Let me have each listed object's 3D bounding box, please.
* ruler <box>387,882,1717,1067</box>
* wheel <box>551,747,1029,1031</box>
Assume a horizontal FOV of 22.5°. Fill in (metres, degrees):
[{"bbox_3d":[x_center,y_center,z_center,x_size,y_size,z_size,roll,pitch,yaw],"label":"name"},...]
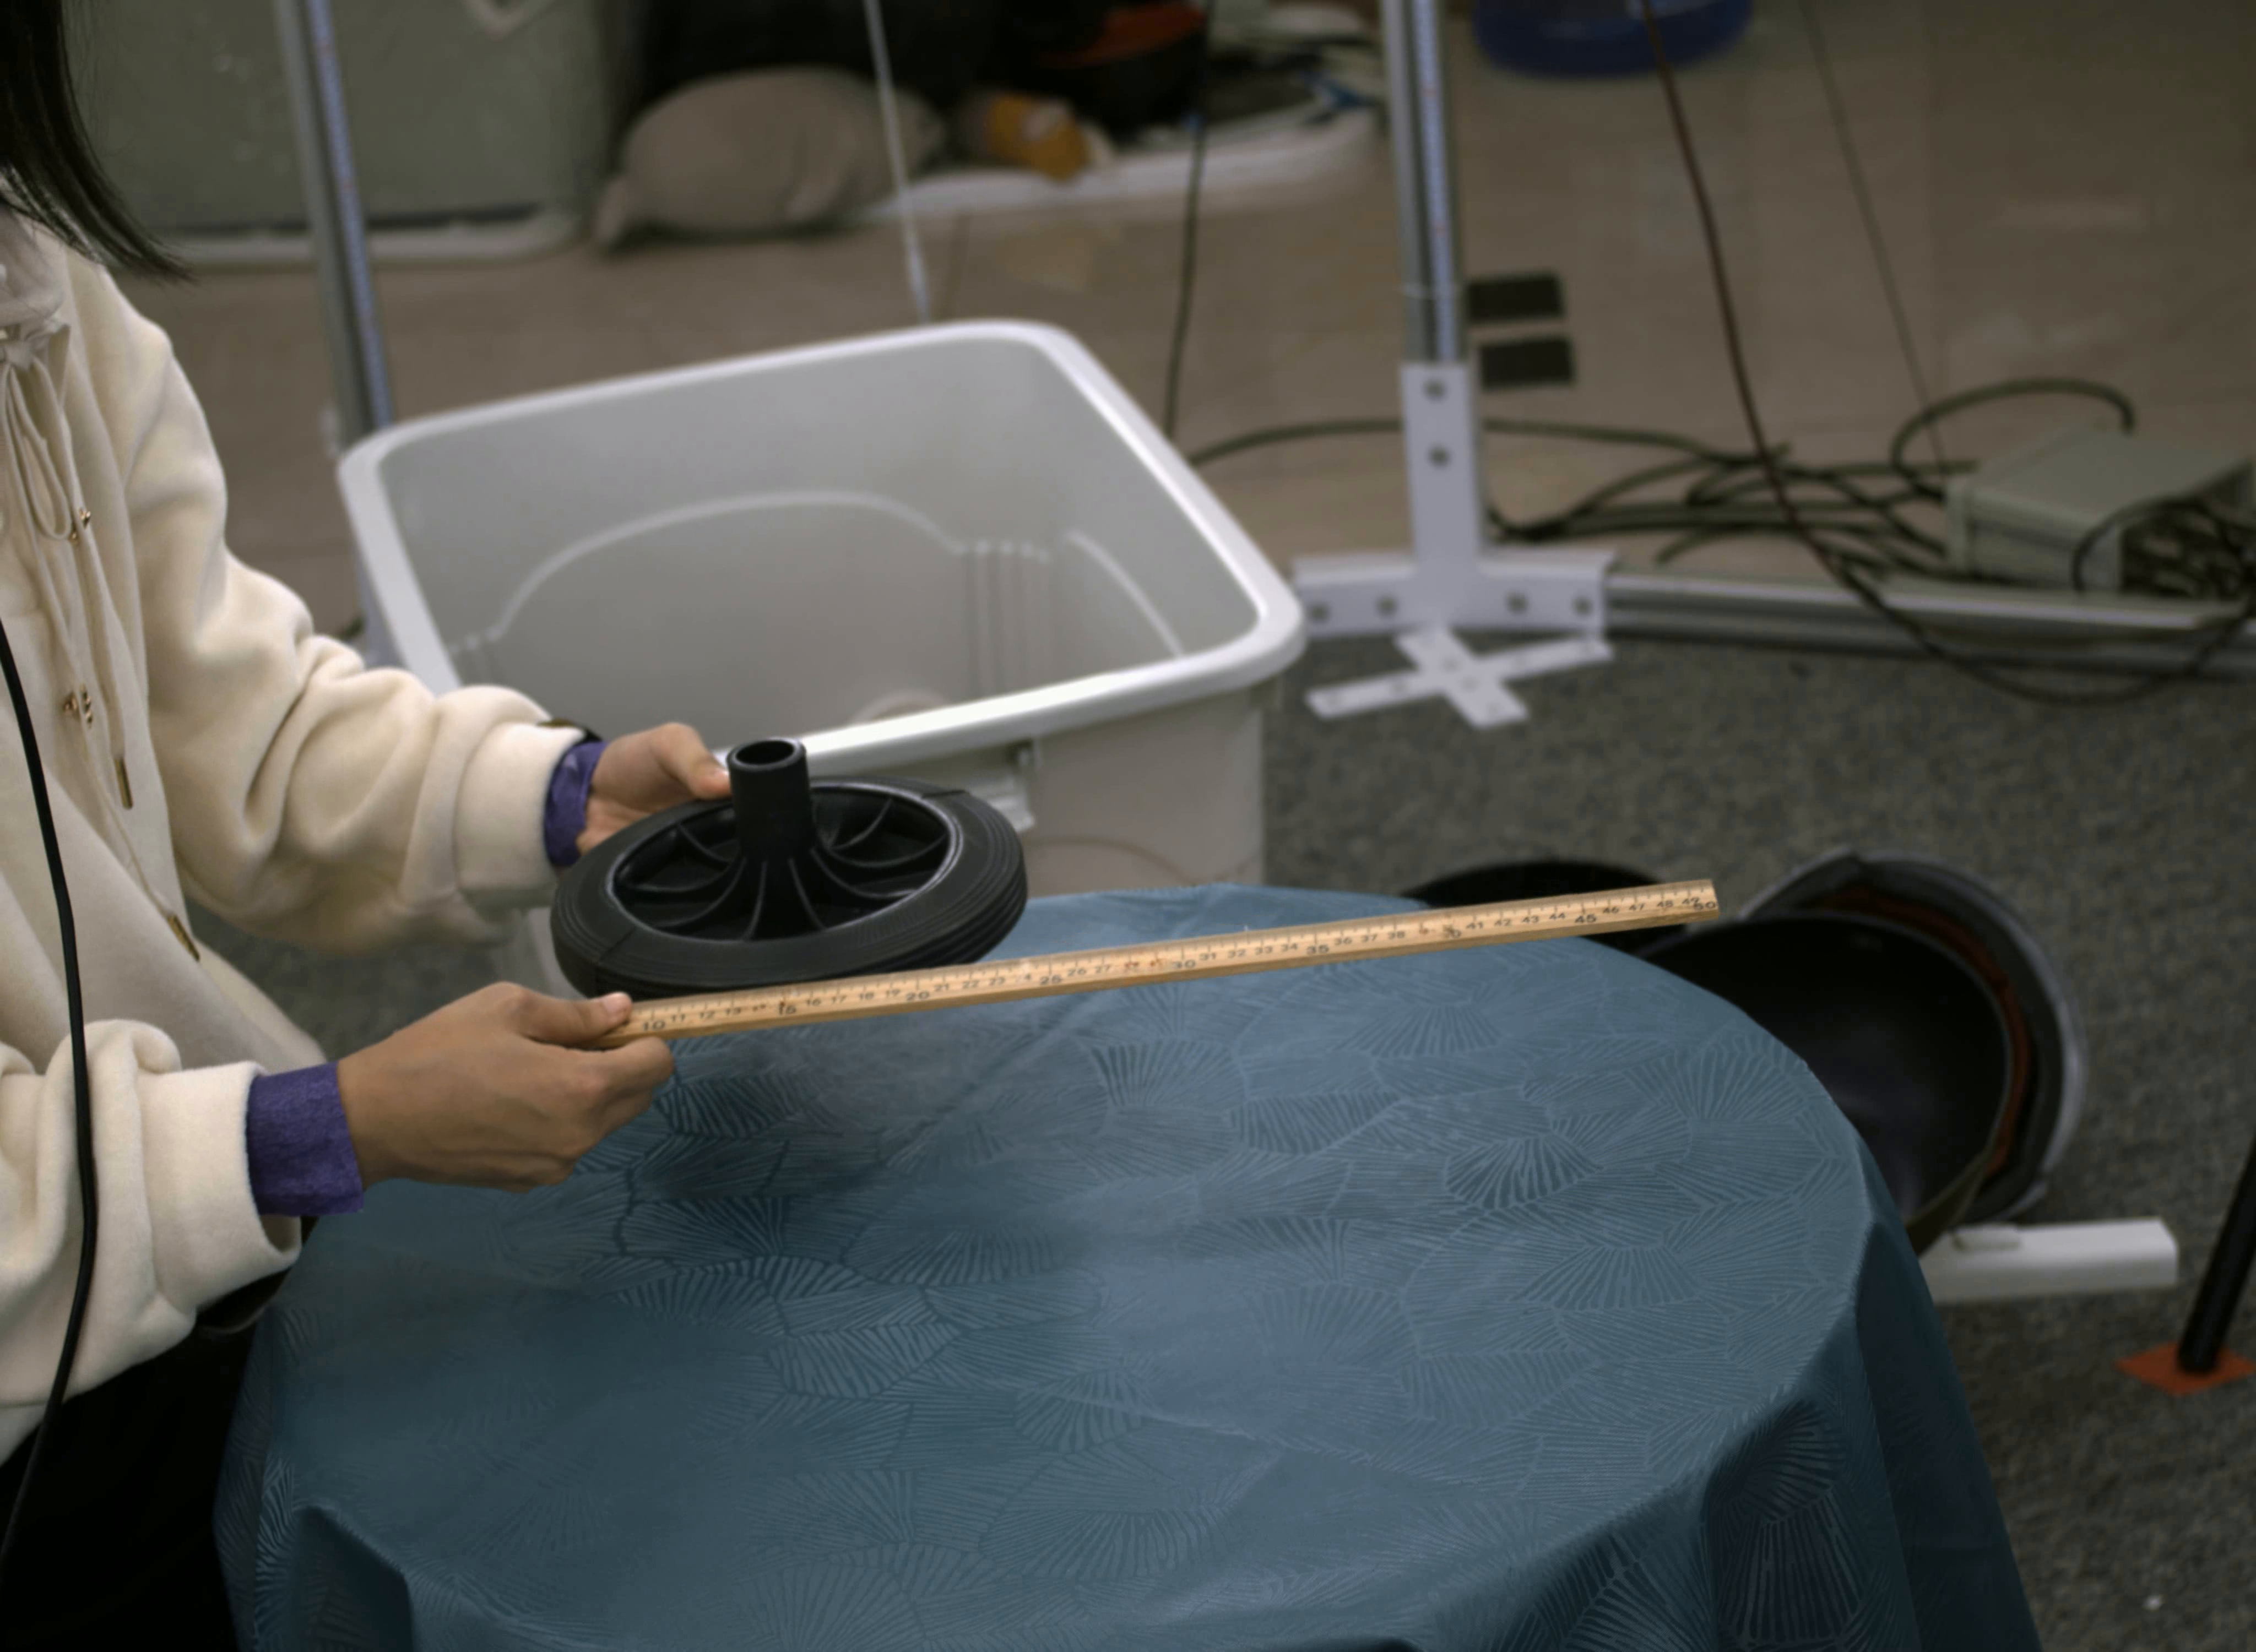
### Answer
[{"bbox_3d":[-0.030,0.055,2.114,0.500,0.006,0.026,-6,29,3],"label":"ruler"},{"bbox_3d":[-0.135,0.011,2.208,0.187,0.080,0.187,-8,25,-1],"label":"wheel"}]
